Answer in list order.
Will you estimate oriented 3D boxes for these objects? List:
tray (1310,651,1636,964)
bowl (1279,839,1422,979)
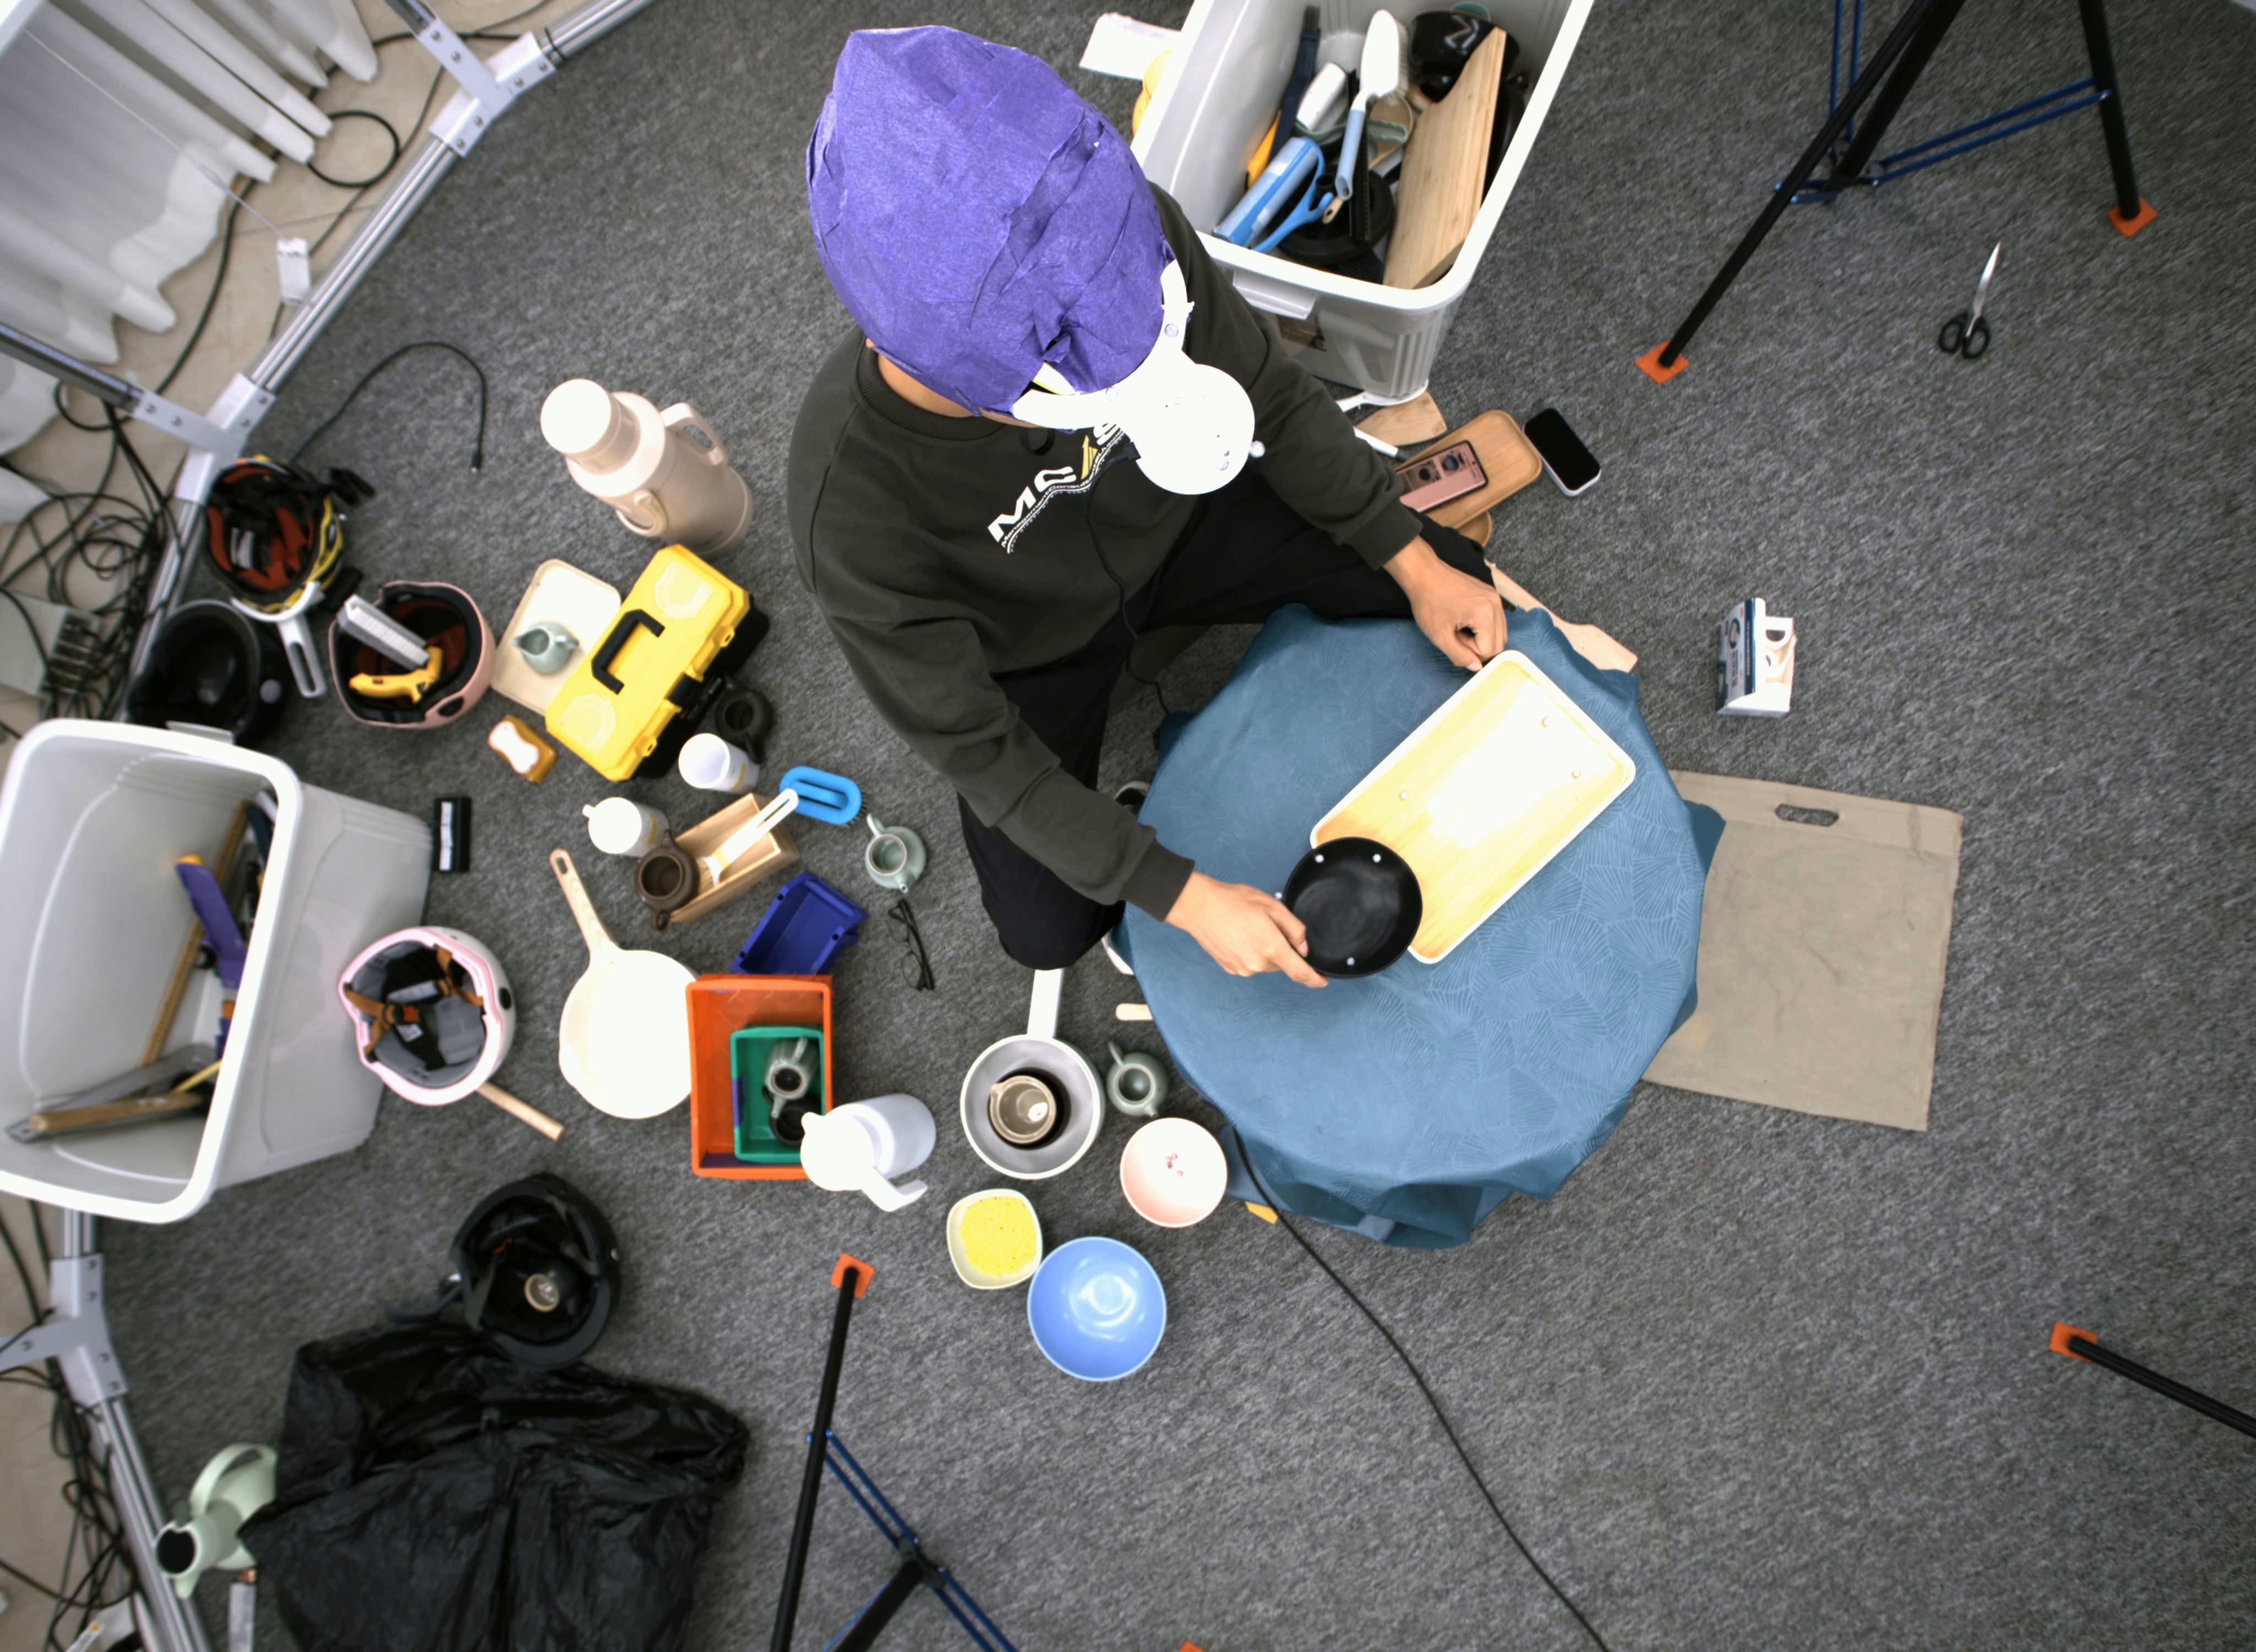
[{"bbox_3d":[0.357,-0.021,1.435,0.301,0.027,0.190,-44,80,6],"label":"tray"},{"bbox_3d":[0.217,0.087,1.400,0.167,0.068,0.137,-38,85,-25],"label":"bowl"}]
